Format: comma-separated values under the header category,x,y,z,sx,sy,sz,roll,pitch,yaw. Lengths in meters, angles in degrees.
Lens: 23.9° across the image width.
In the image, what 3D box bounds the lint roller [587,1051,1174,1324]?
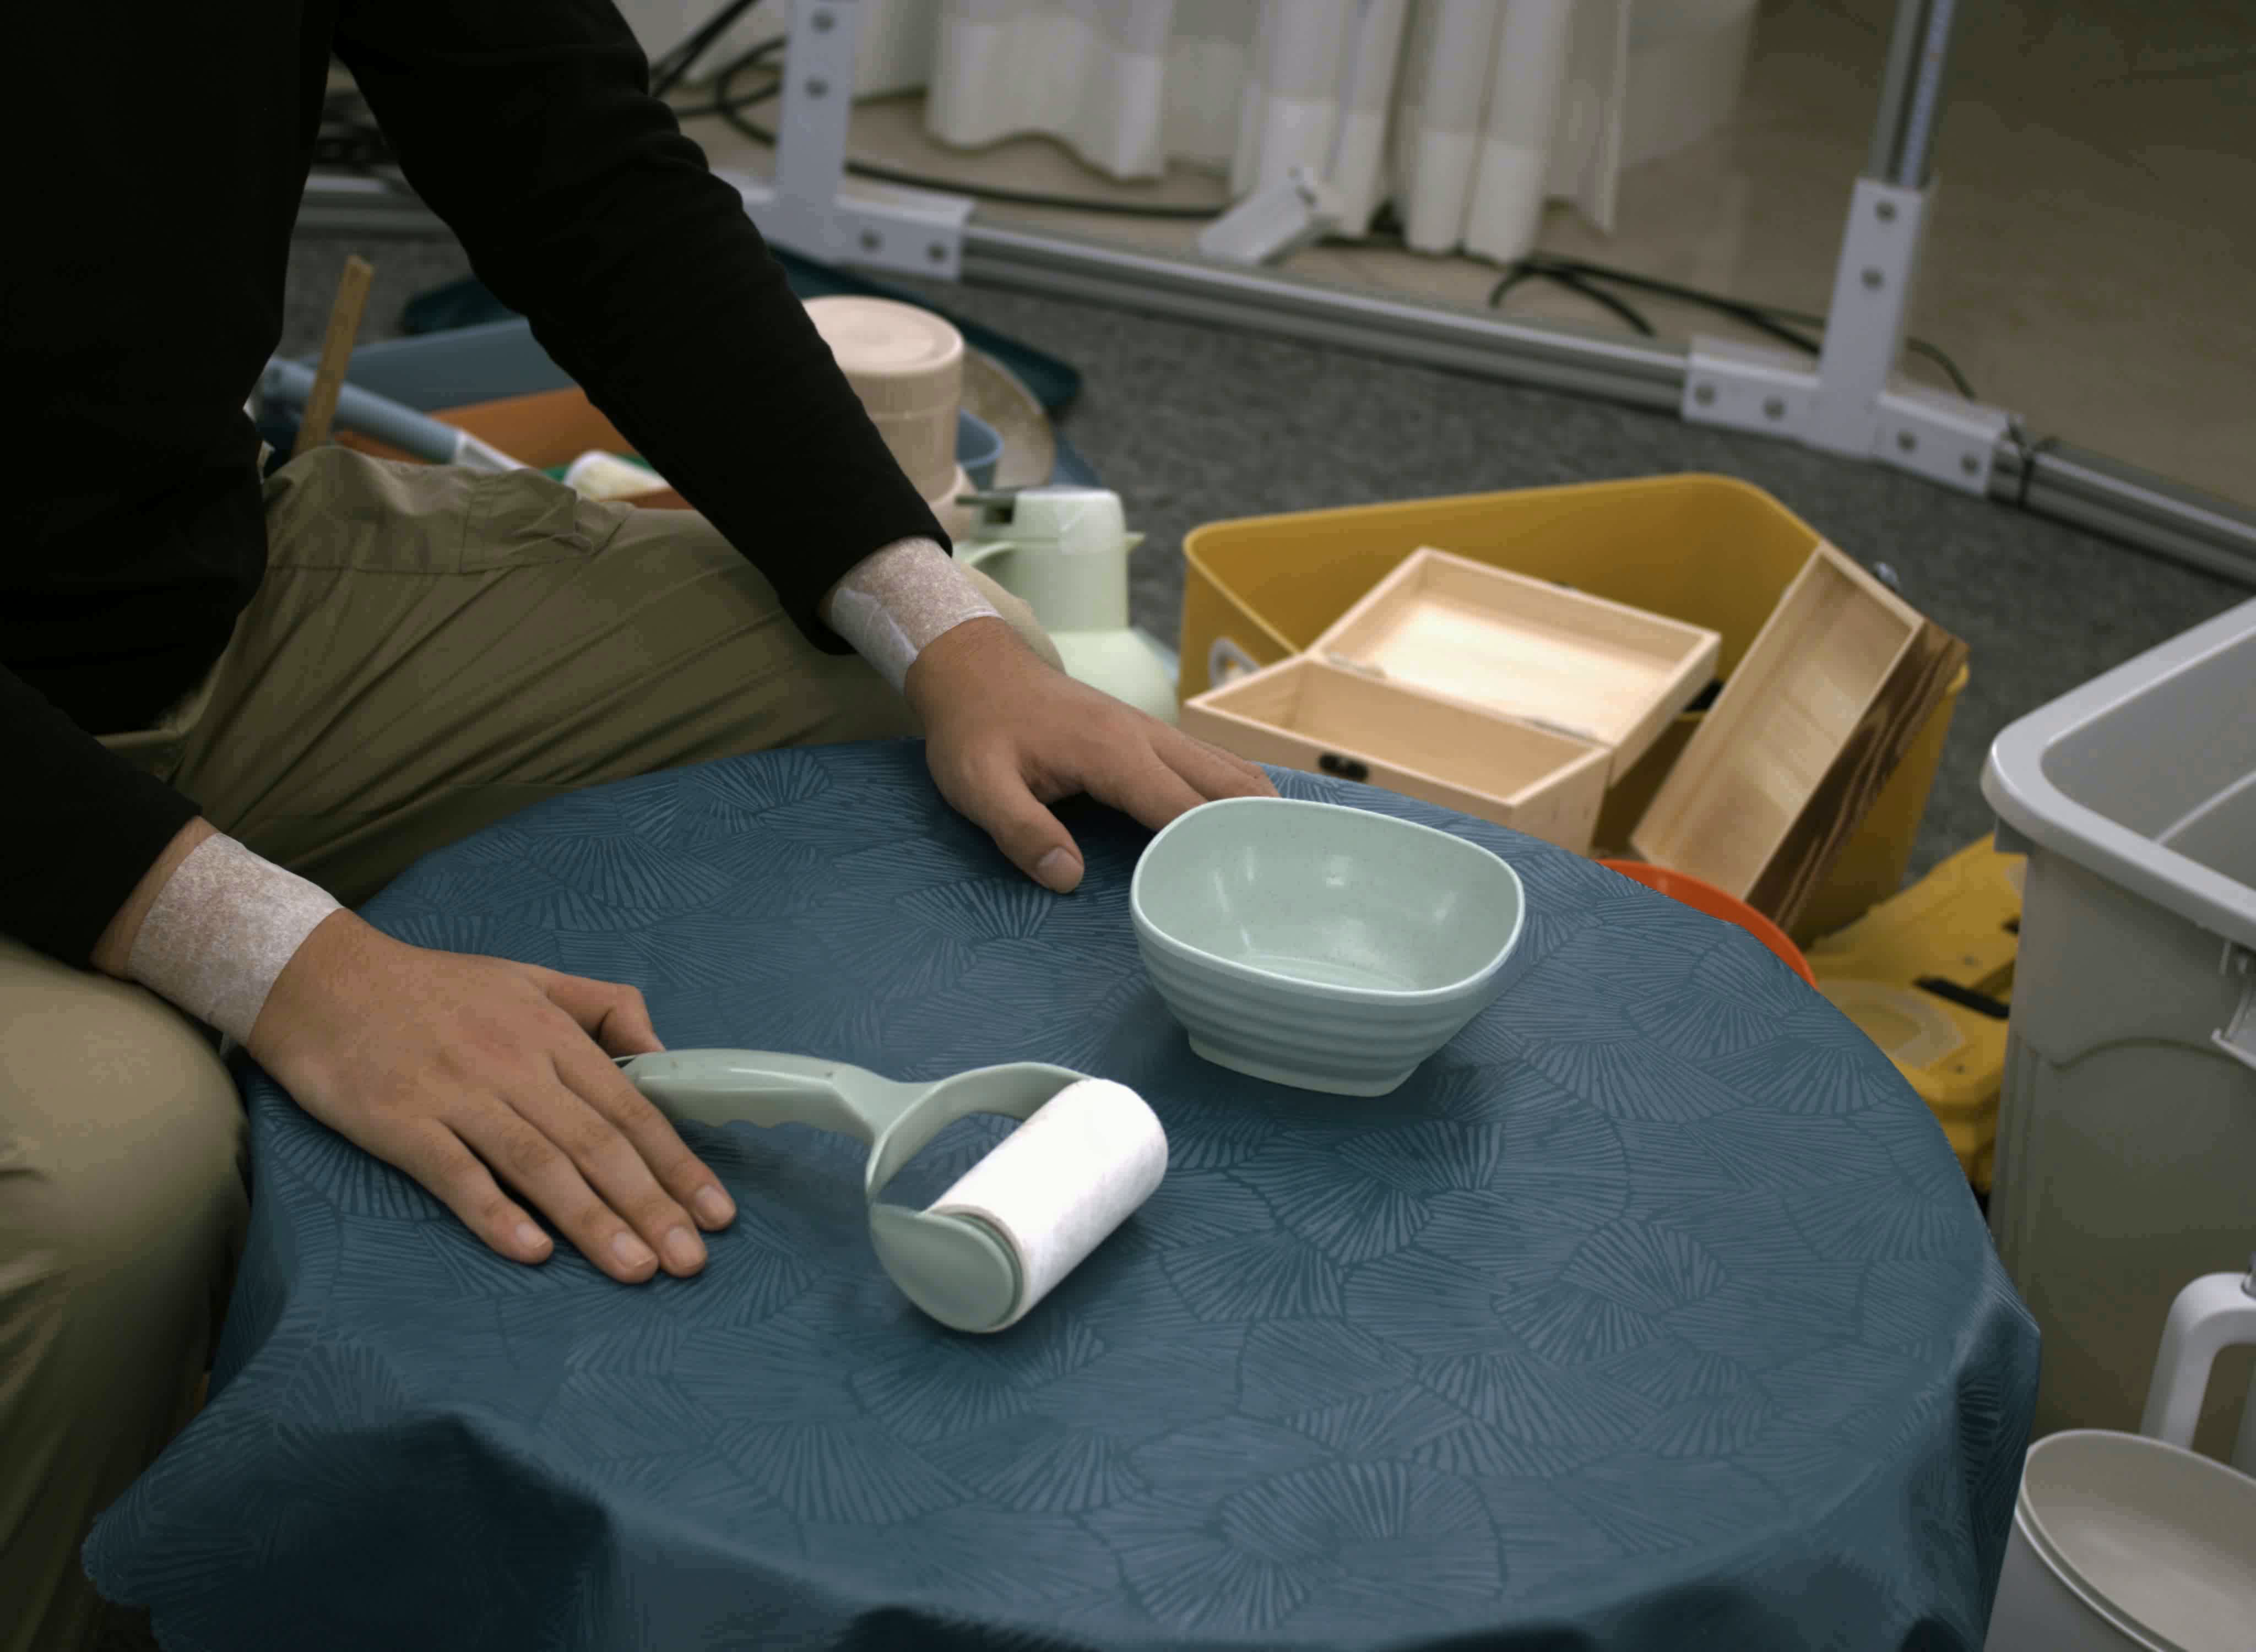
category,x,y,z,sx,sy,sz,roll,pitch,yaw
lint roller,-0.092,0.101,1.777,0.198,0.048,0.116,17,30,22

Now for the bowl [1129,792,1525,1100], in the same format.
category,x,y,z,sx,sy,sz,roll,pitch,yaw
bowl,0.068,0.049,1.902,0.151,0.058,0.152,6,28,-4
